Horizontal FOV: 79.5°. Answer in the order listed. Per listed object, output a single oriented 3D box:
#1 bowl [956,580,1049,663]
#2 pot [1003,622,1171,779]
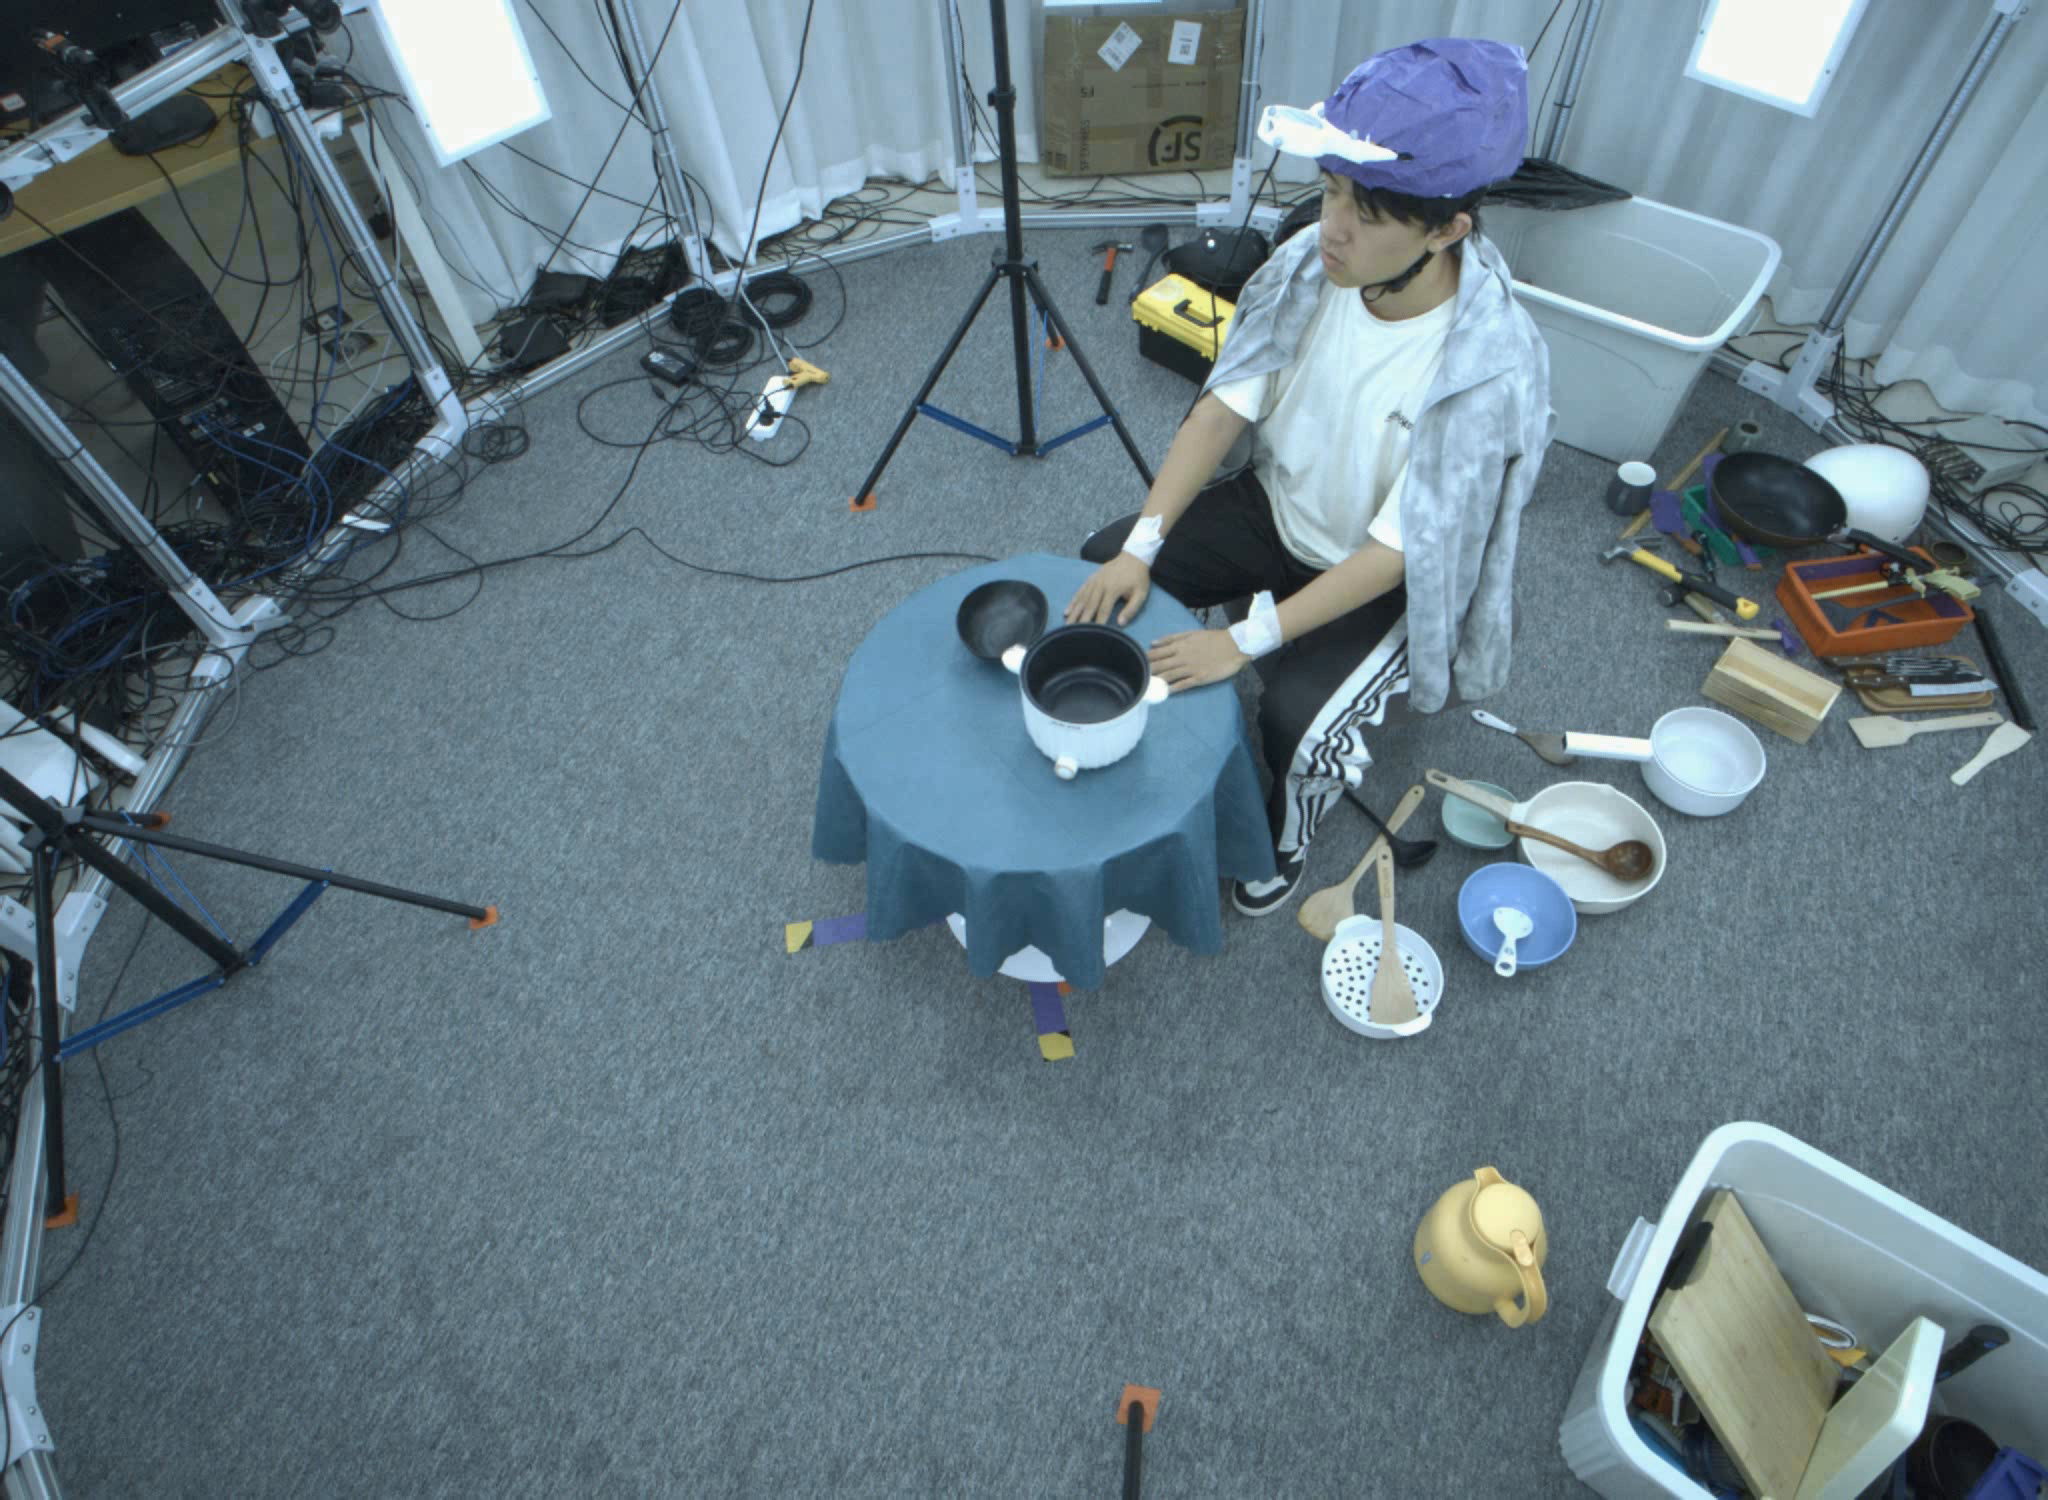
[{"bbox_3d":[-0.032,-0.190,1.885,0.136,0.067,0.170,14,56,11],"label":"bowl"},{"bbox_3d":[0.087,-0.066,1.748,0.238,0.144,0.190,13,53,12],"label":"pot"}]
